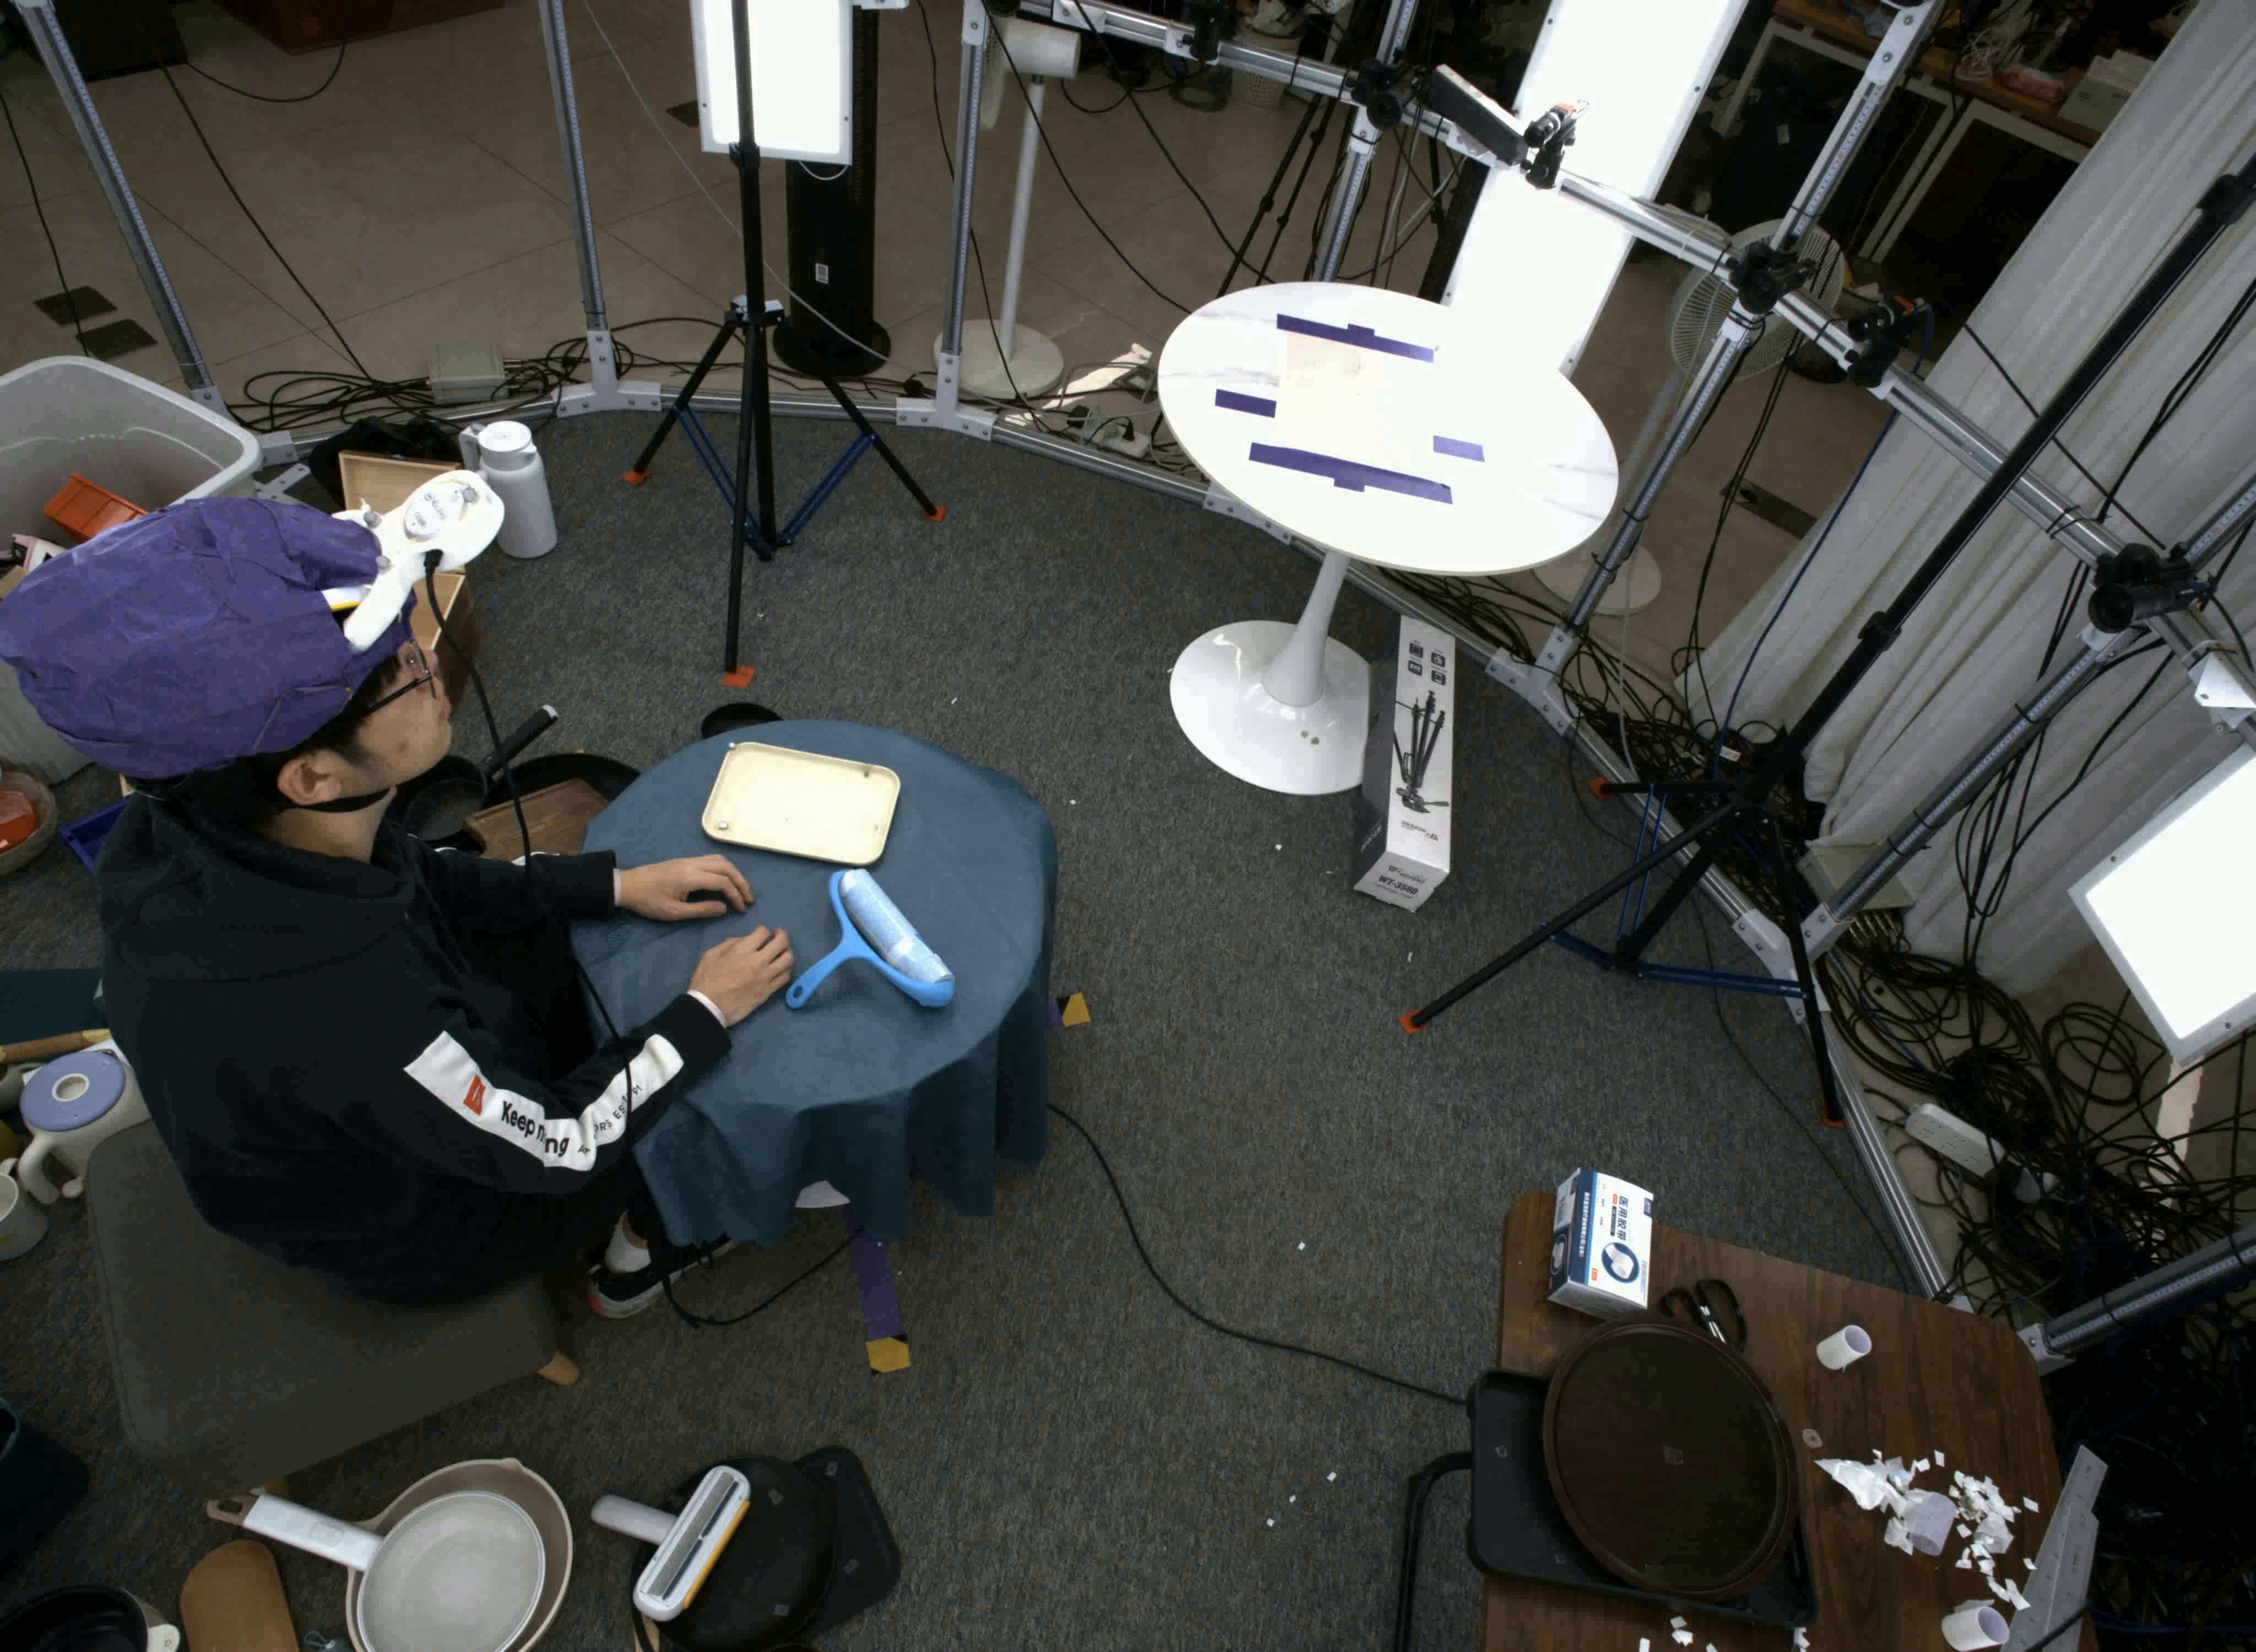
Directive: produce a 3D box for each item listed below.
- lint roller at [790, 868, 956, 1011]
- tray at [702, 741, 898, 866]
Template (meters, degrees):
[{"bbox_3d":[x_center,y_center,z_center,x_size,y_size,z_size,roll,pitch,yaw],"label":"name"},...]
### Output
[{"bbox_3d":[-0.336,0.161,1.598,0.181,0.069,0.224,-34,70,-33],"label":"lint roller"},{"bbox_3d":[-0.437,-0.031,1.737,0.239,0.018,0.168,11,53,-7],"label":"tray"}]
